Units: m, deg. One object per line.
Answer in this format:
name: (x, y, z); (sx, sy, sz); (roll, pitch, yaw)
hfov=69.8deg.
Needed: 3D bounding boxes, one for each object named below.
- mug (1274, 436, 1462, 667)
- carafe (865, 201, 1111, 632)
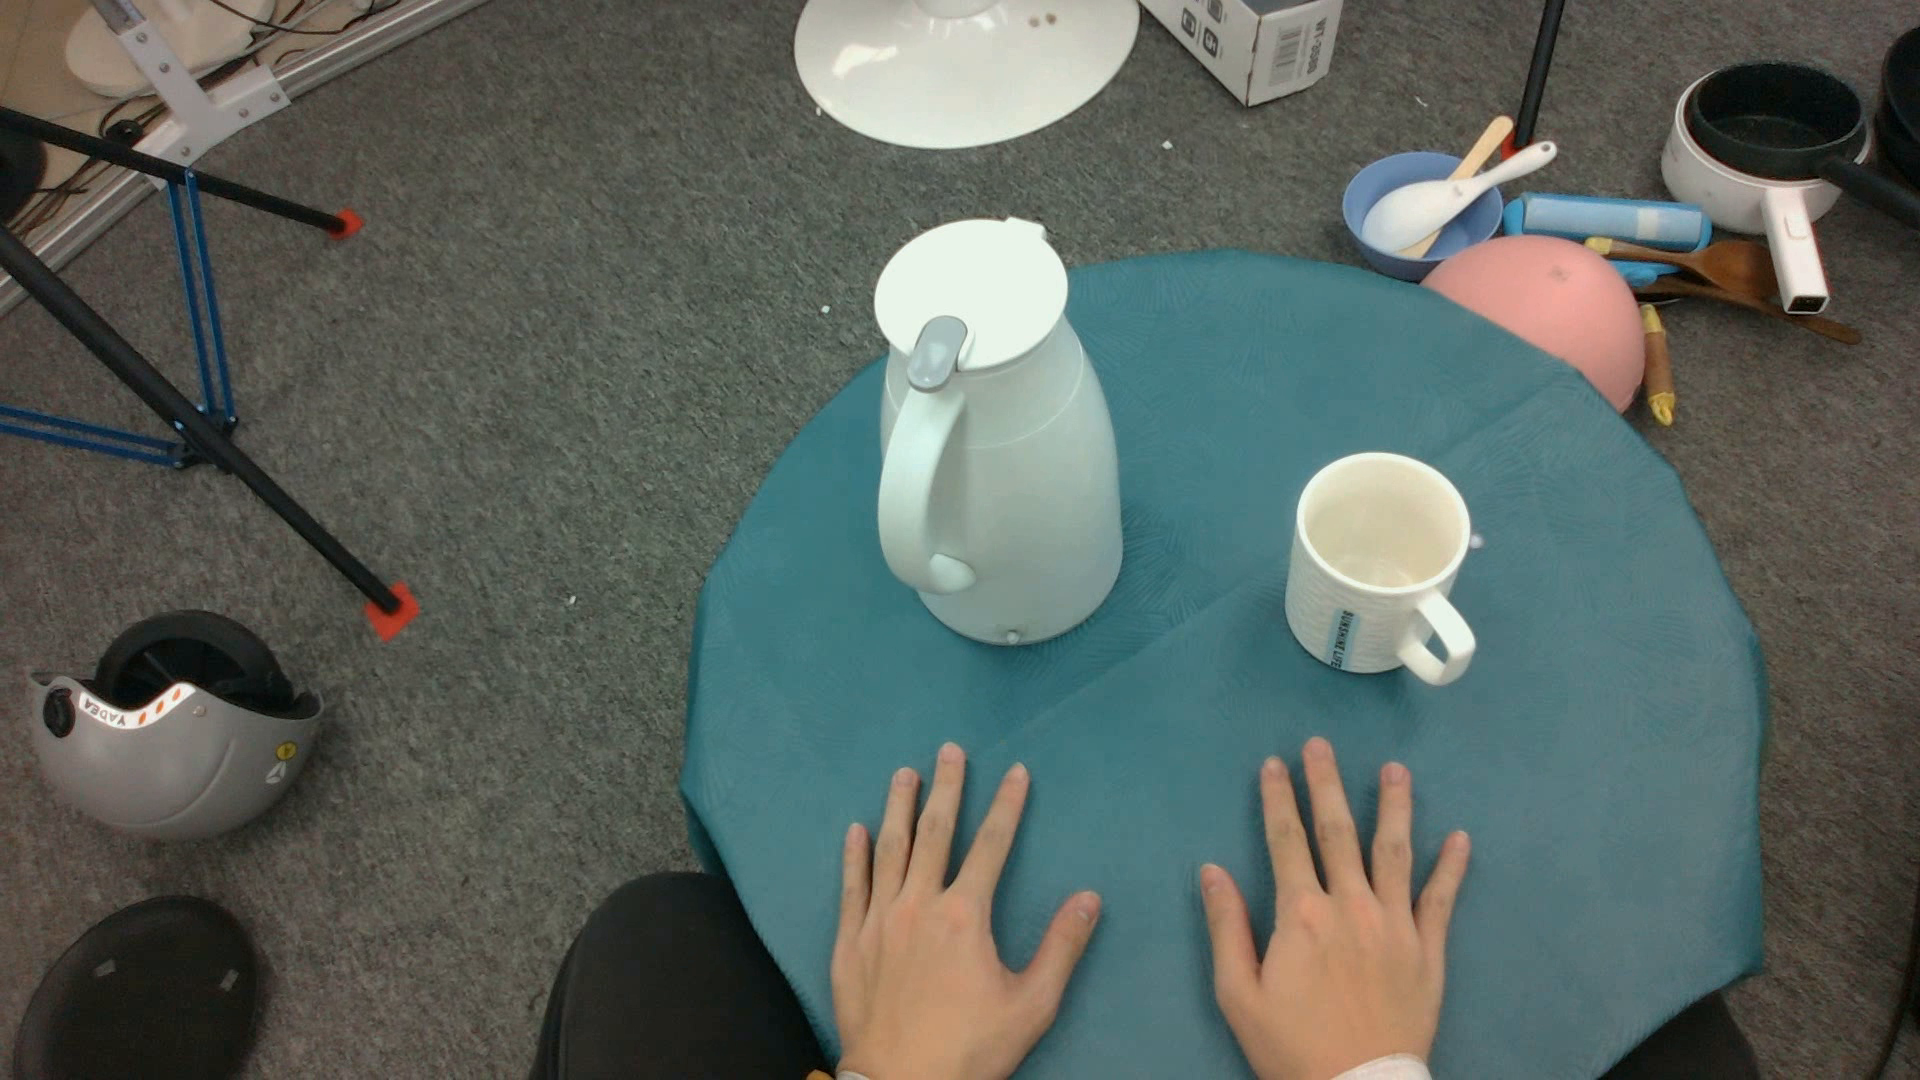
mug: (0.226, 0.018, 0.748); (0.085, 0.101, 0.118); (-28, 60, -9)
carafe: (0.007, -0.048, 0.731); (0.132, 0.247, 0.168); (18, 63, 16)
